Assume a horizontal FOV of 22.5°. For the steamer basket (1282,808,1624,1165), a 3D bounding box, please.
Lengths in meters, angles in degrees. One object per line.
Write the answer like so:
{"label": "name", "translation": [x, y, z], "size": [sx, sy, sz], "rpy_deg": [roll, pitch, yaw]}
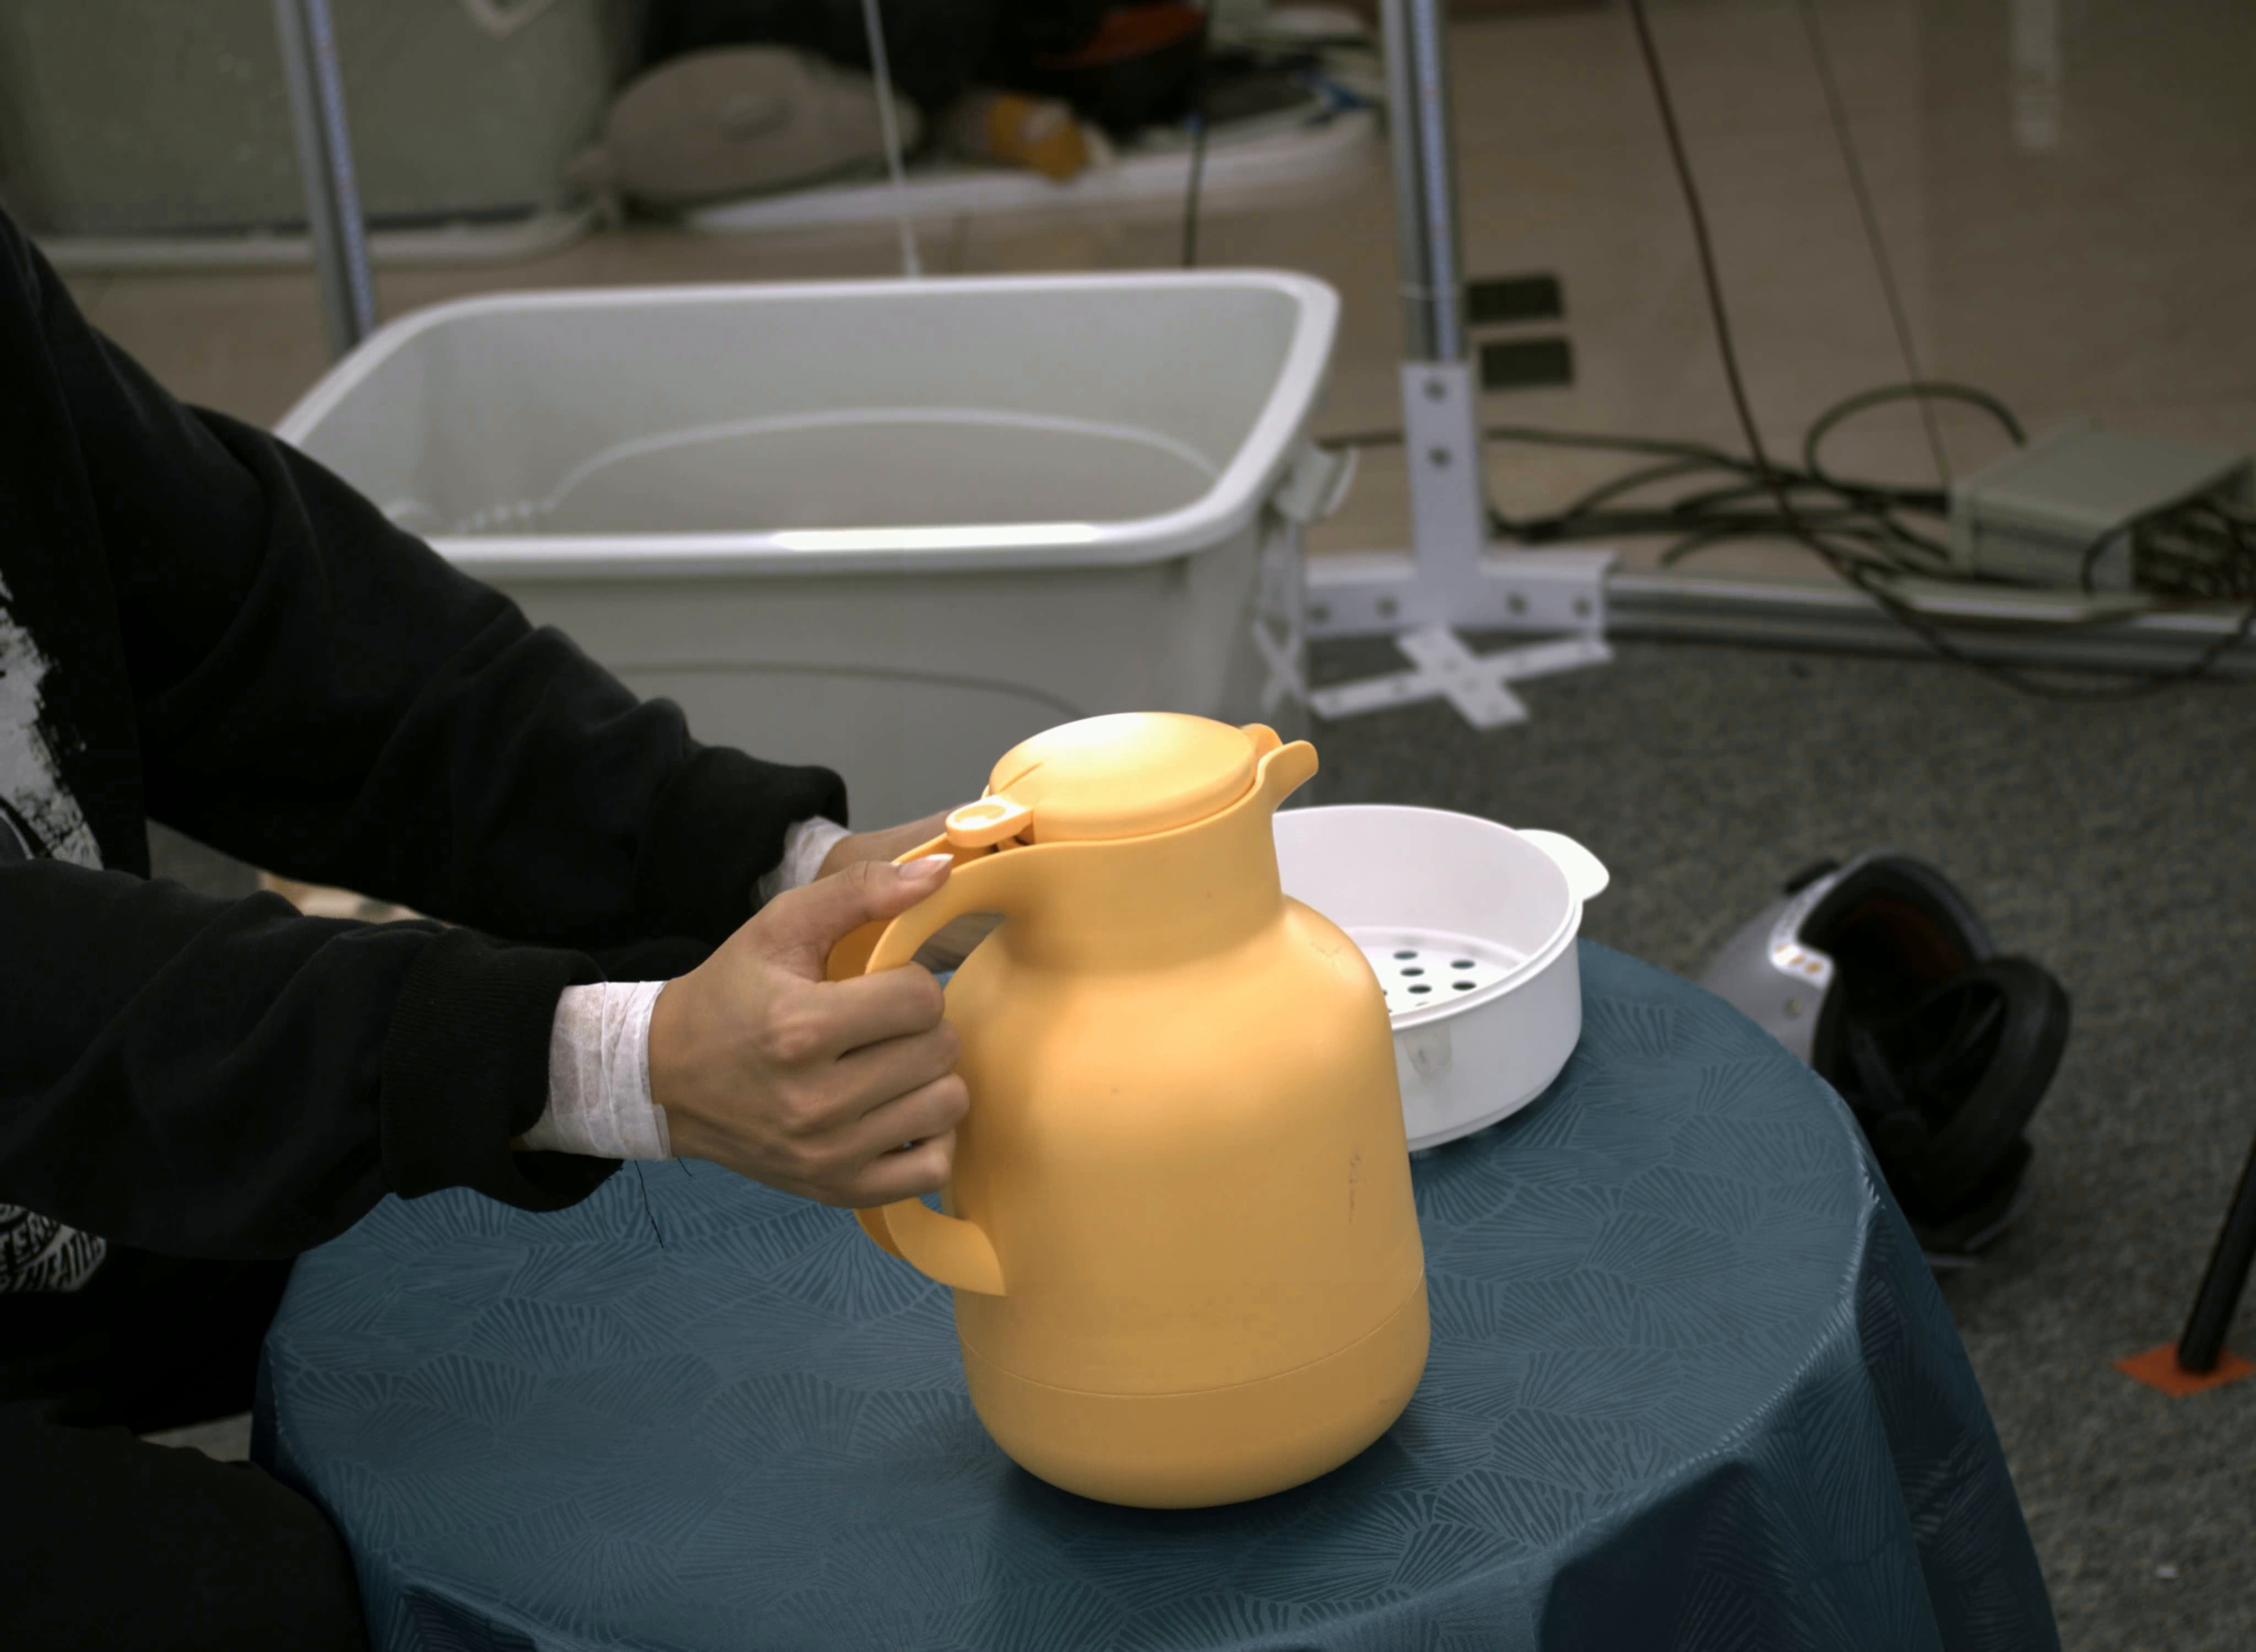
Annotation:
{"label": "steamer basket", "translation": [0.084, 0.064, 2.215], "size": [0.230, 0.070, 0.199], "rpy_deg": [-13, 27, -16]}

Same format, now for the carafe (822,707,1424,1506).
{"label": "carafe", "translation": [-0.006, 0.096, 1.923], "size": [0.201, 0.264, 0.162], "rpy_deg": [-18, 23, -26]}
